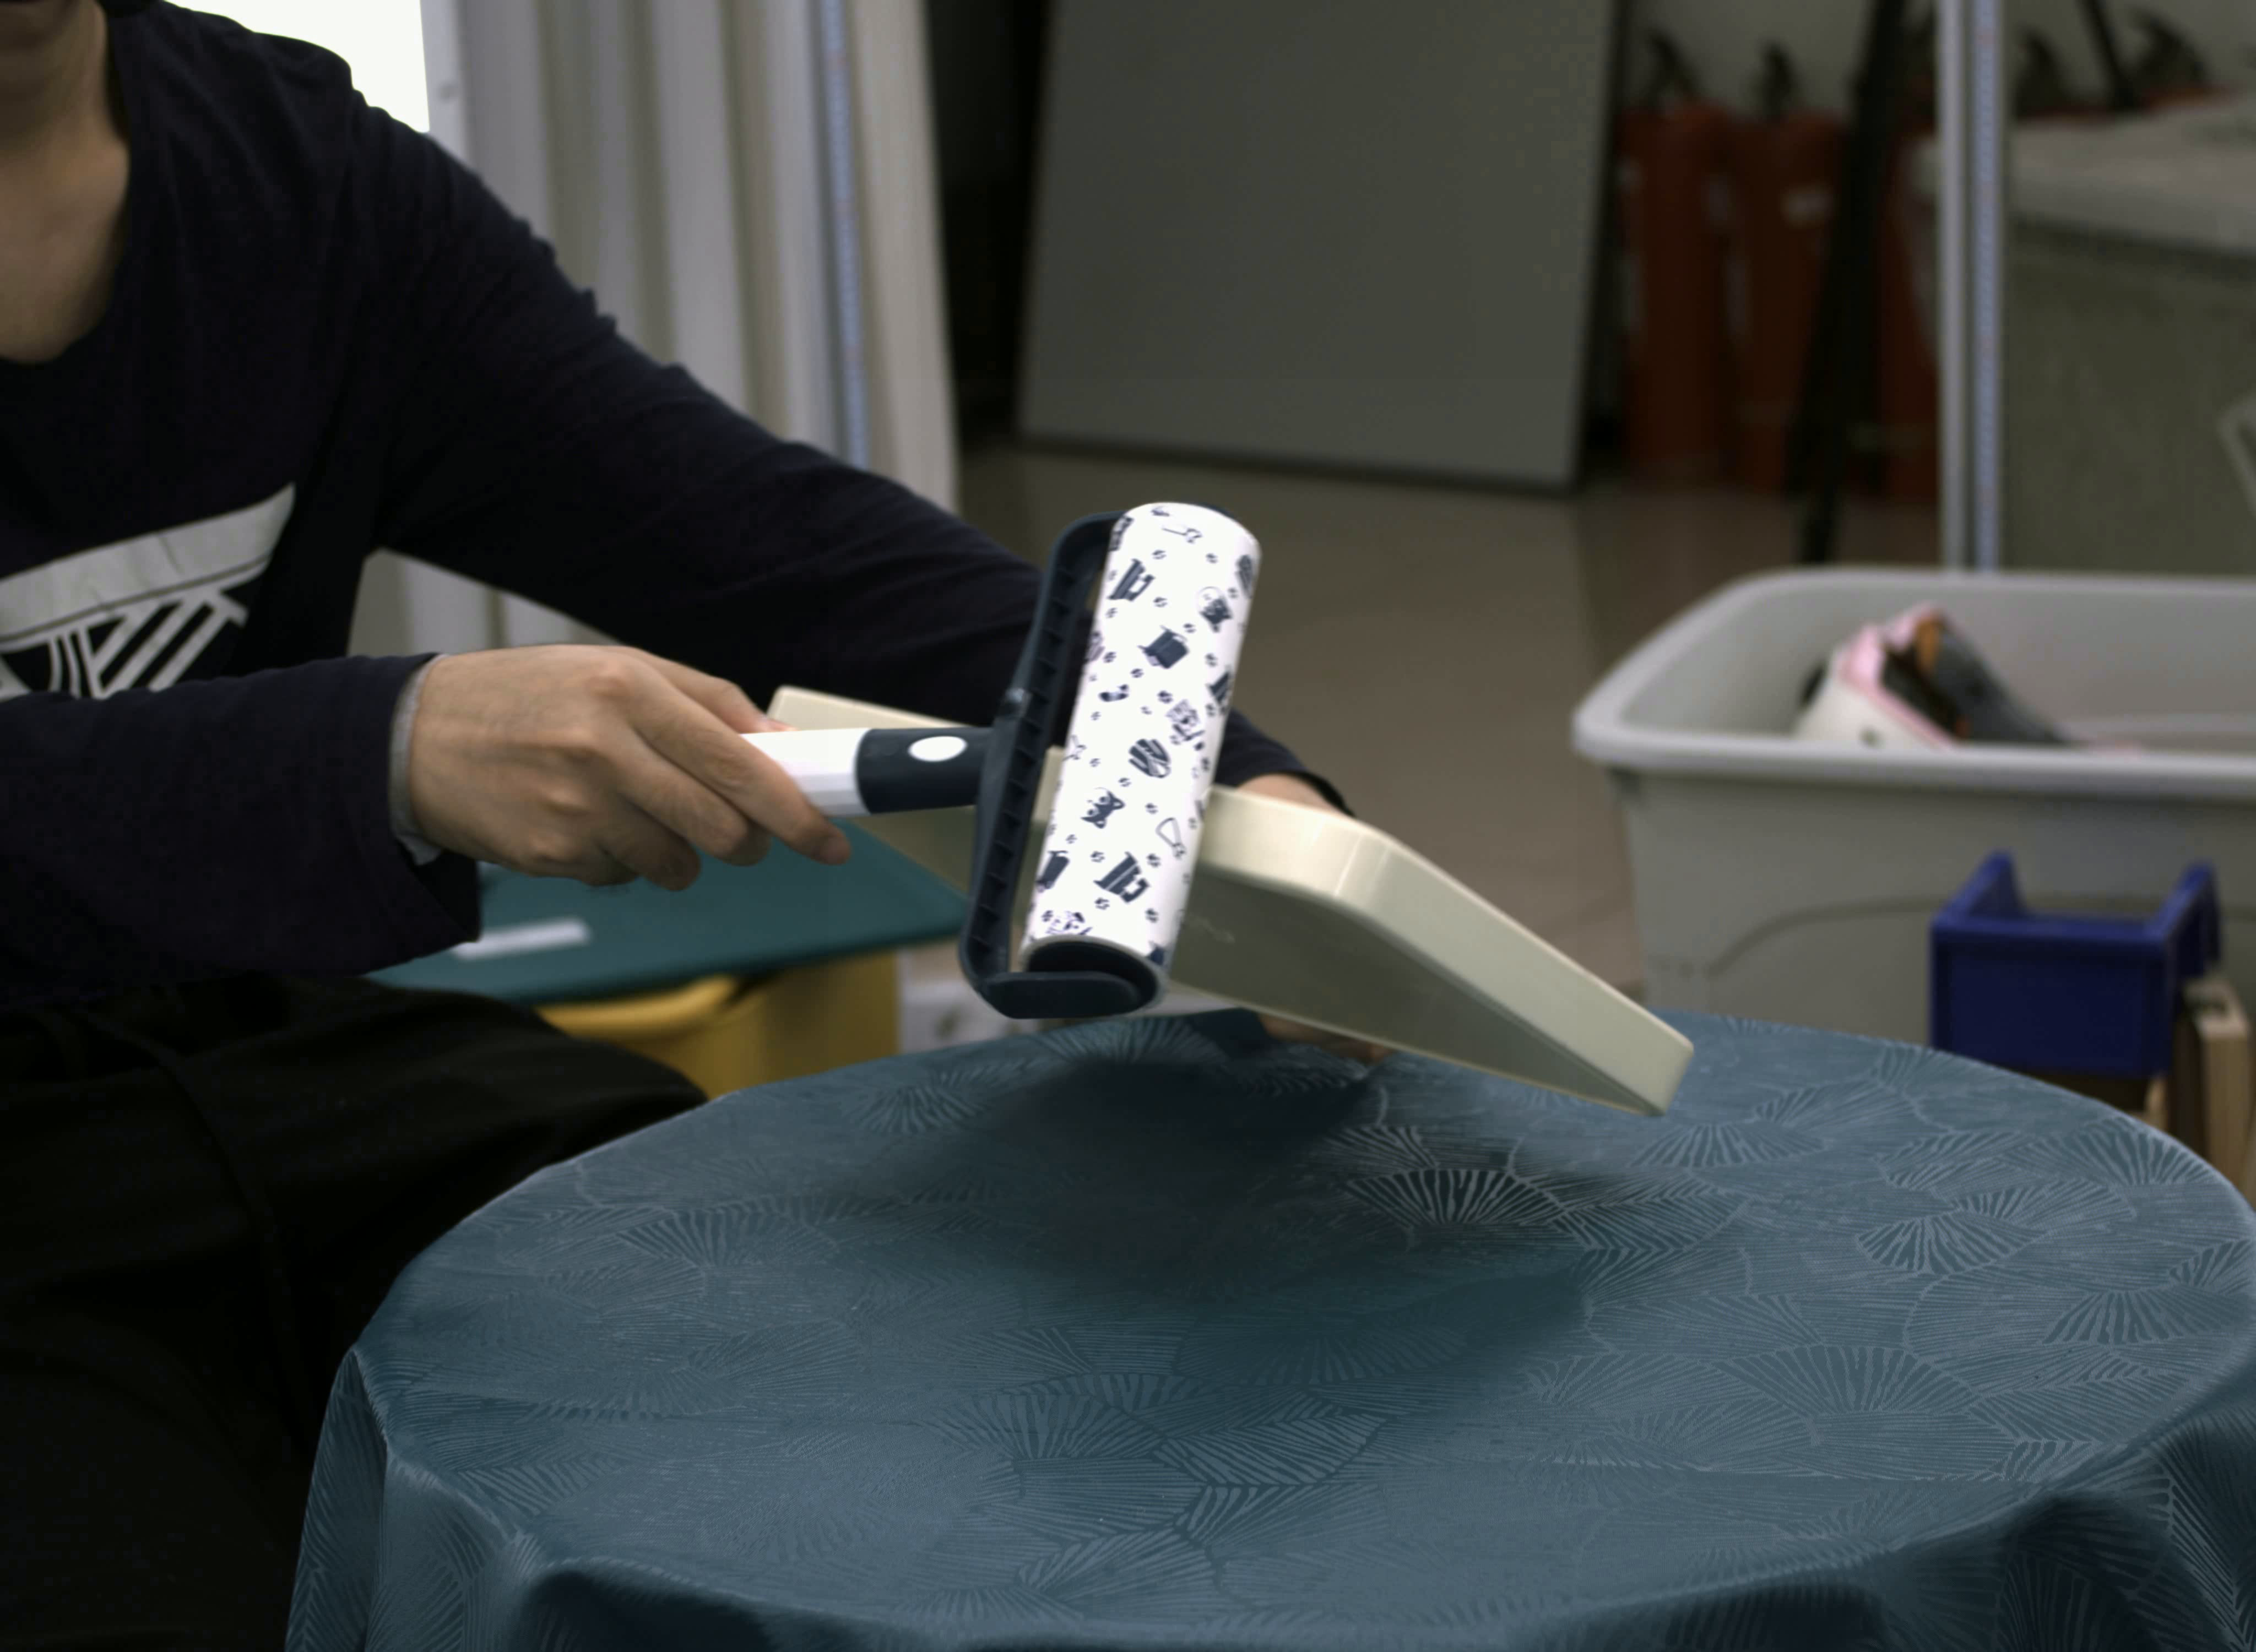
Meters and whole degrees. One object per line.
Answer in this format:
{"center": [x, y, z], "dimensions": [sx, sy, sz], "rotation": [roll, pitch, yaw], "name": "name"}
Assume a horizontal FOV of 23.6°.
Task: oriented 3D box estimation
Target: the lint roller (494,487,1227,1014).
{"center": [-0.094, -0.017, 1.693], "dimensions": [0.247, 0.050, 0.177], "rotation": [-4, 56, 24], "name": "lint roller"}

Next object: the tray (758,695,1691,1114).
{"center": [0.026, 0.025, 1.773], "dimensions": [0.188, 0.027, 0.303], "rotation": [31, -12, -39], "name": "tray"}
